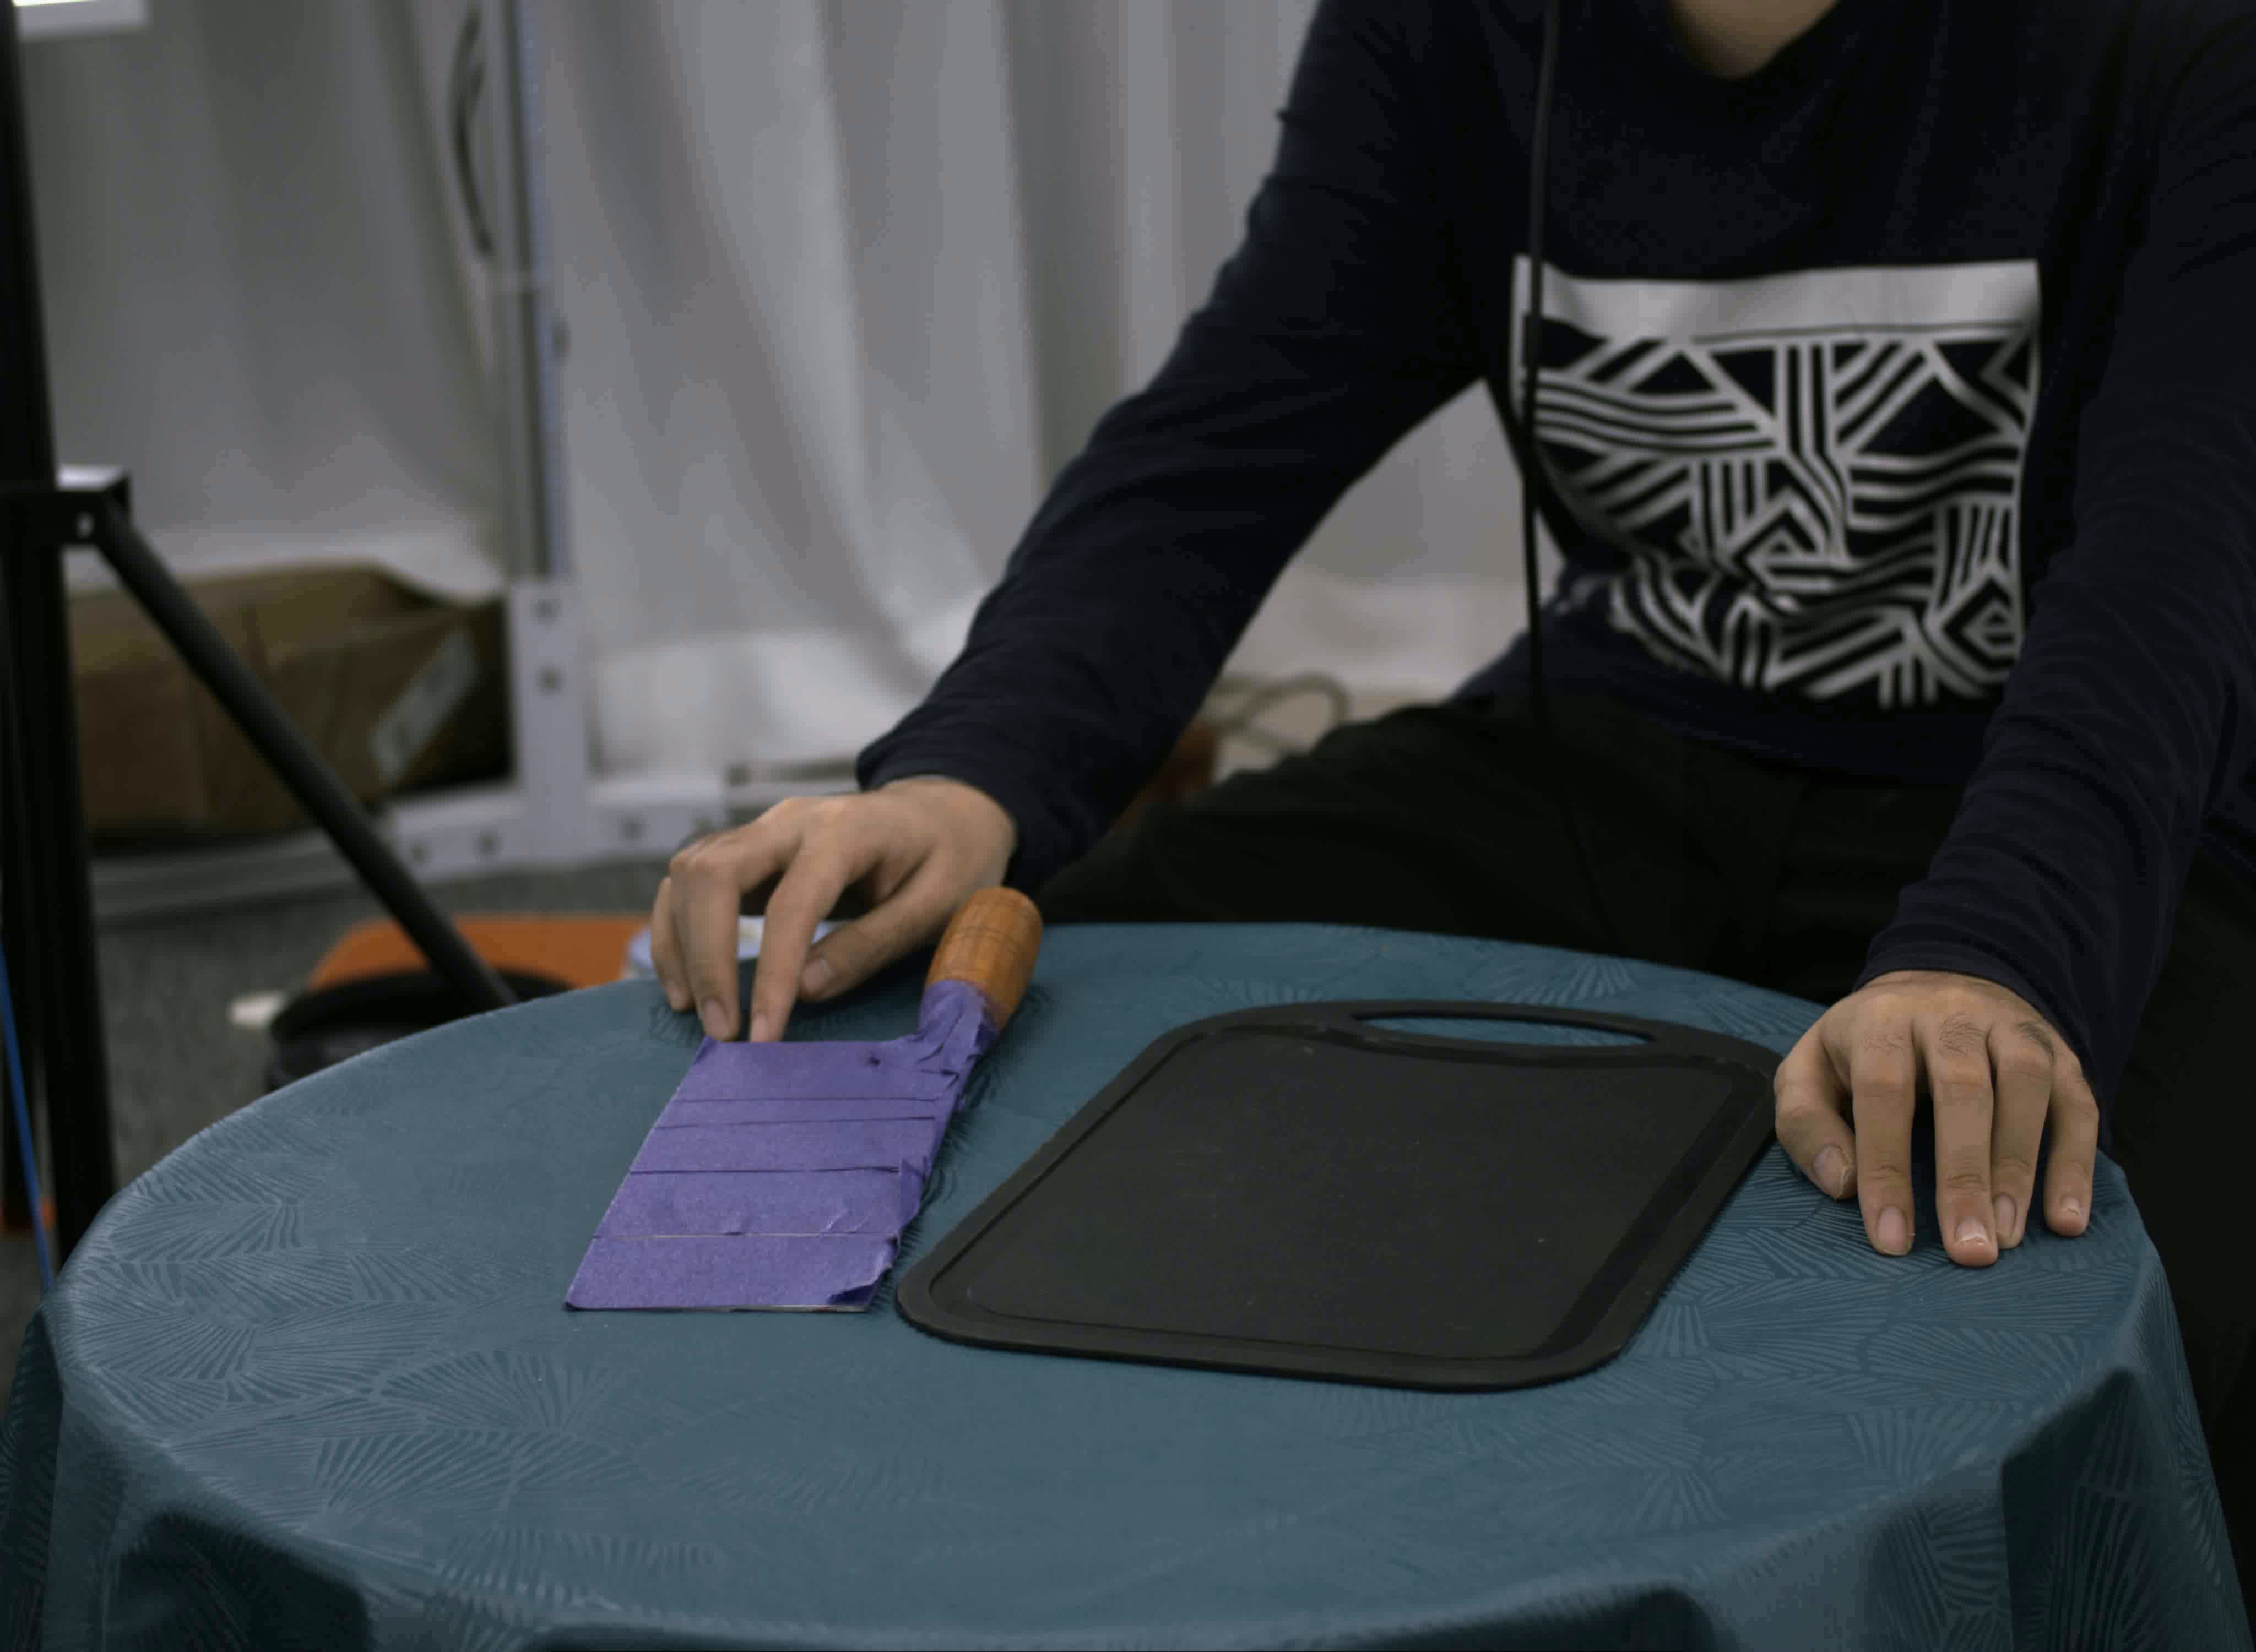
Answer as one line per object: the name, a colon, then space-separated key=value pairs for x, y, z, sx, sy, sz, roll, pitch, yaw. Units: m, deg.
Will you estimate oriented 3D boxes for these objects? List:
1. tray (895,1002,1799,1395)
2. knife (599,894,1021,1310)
tray: x=0.073 y=0.101 z=1.564 sx=0.213 sy=0.010 sz=0.321 roll=4 pitch=17 yaw=20
knife: x=-0.095 y=0.081 z=1.624 sx=0.104 sy=0.032 sz=0.315 roll=0 pitch=16 yaw=7
